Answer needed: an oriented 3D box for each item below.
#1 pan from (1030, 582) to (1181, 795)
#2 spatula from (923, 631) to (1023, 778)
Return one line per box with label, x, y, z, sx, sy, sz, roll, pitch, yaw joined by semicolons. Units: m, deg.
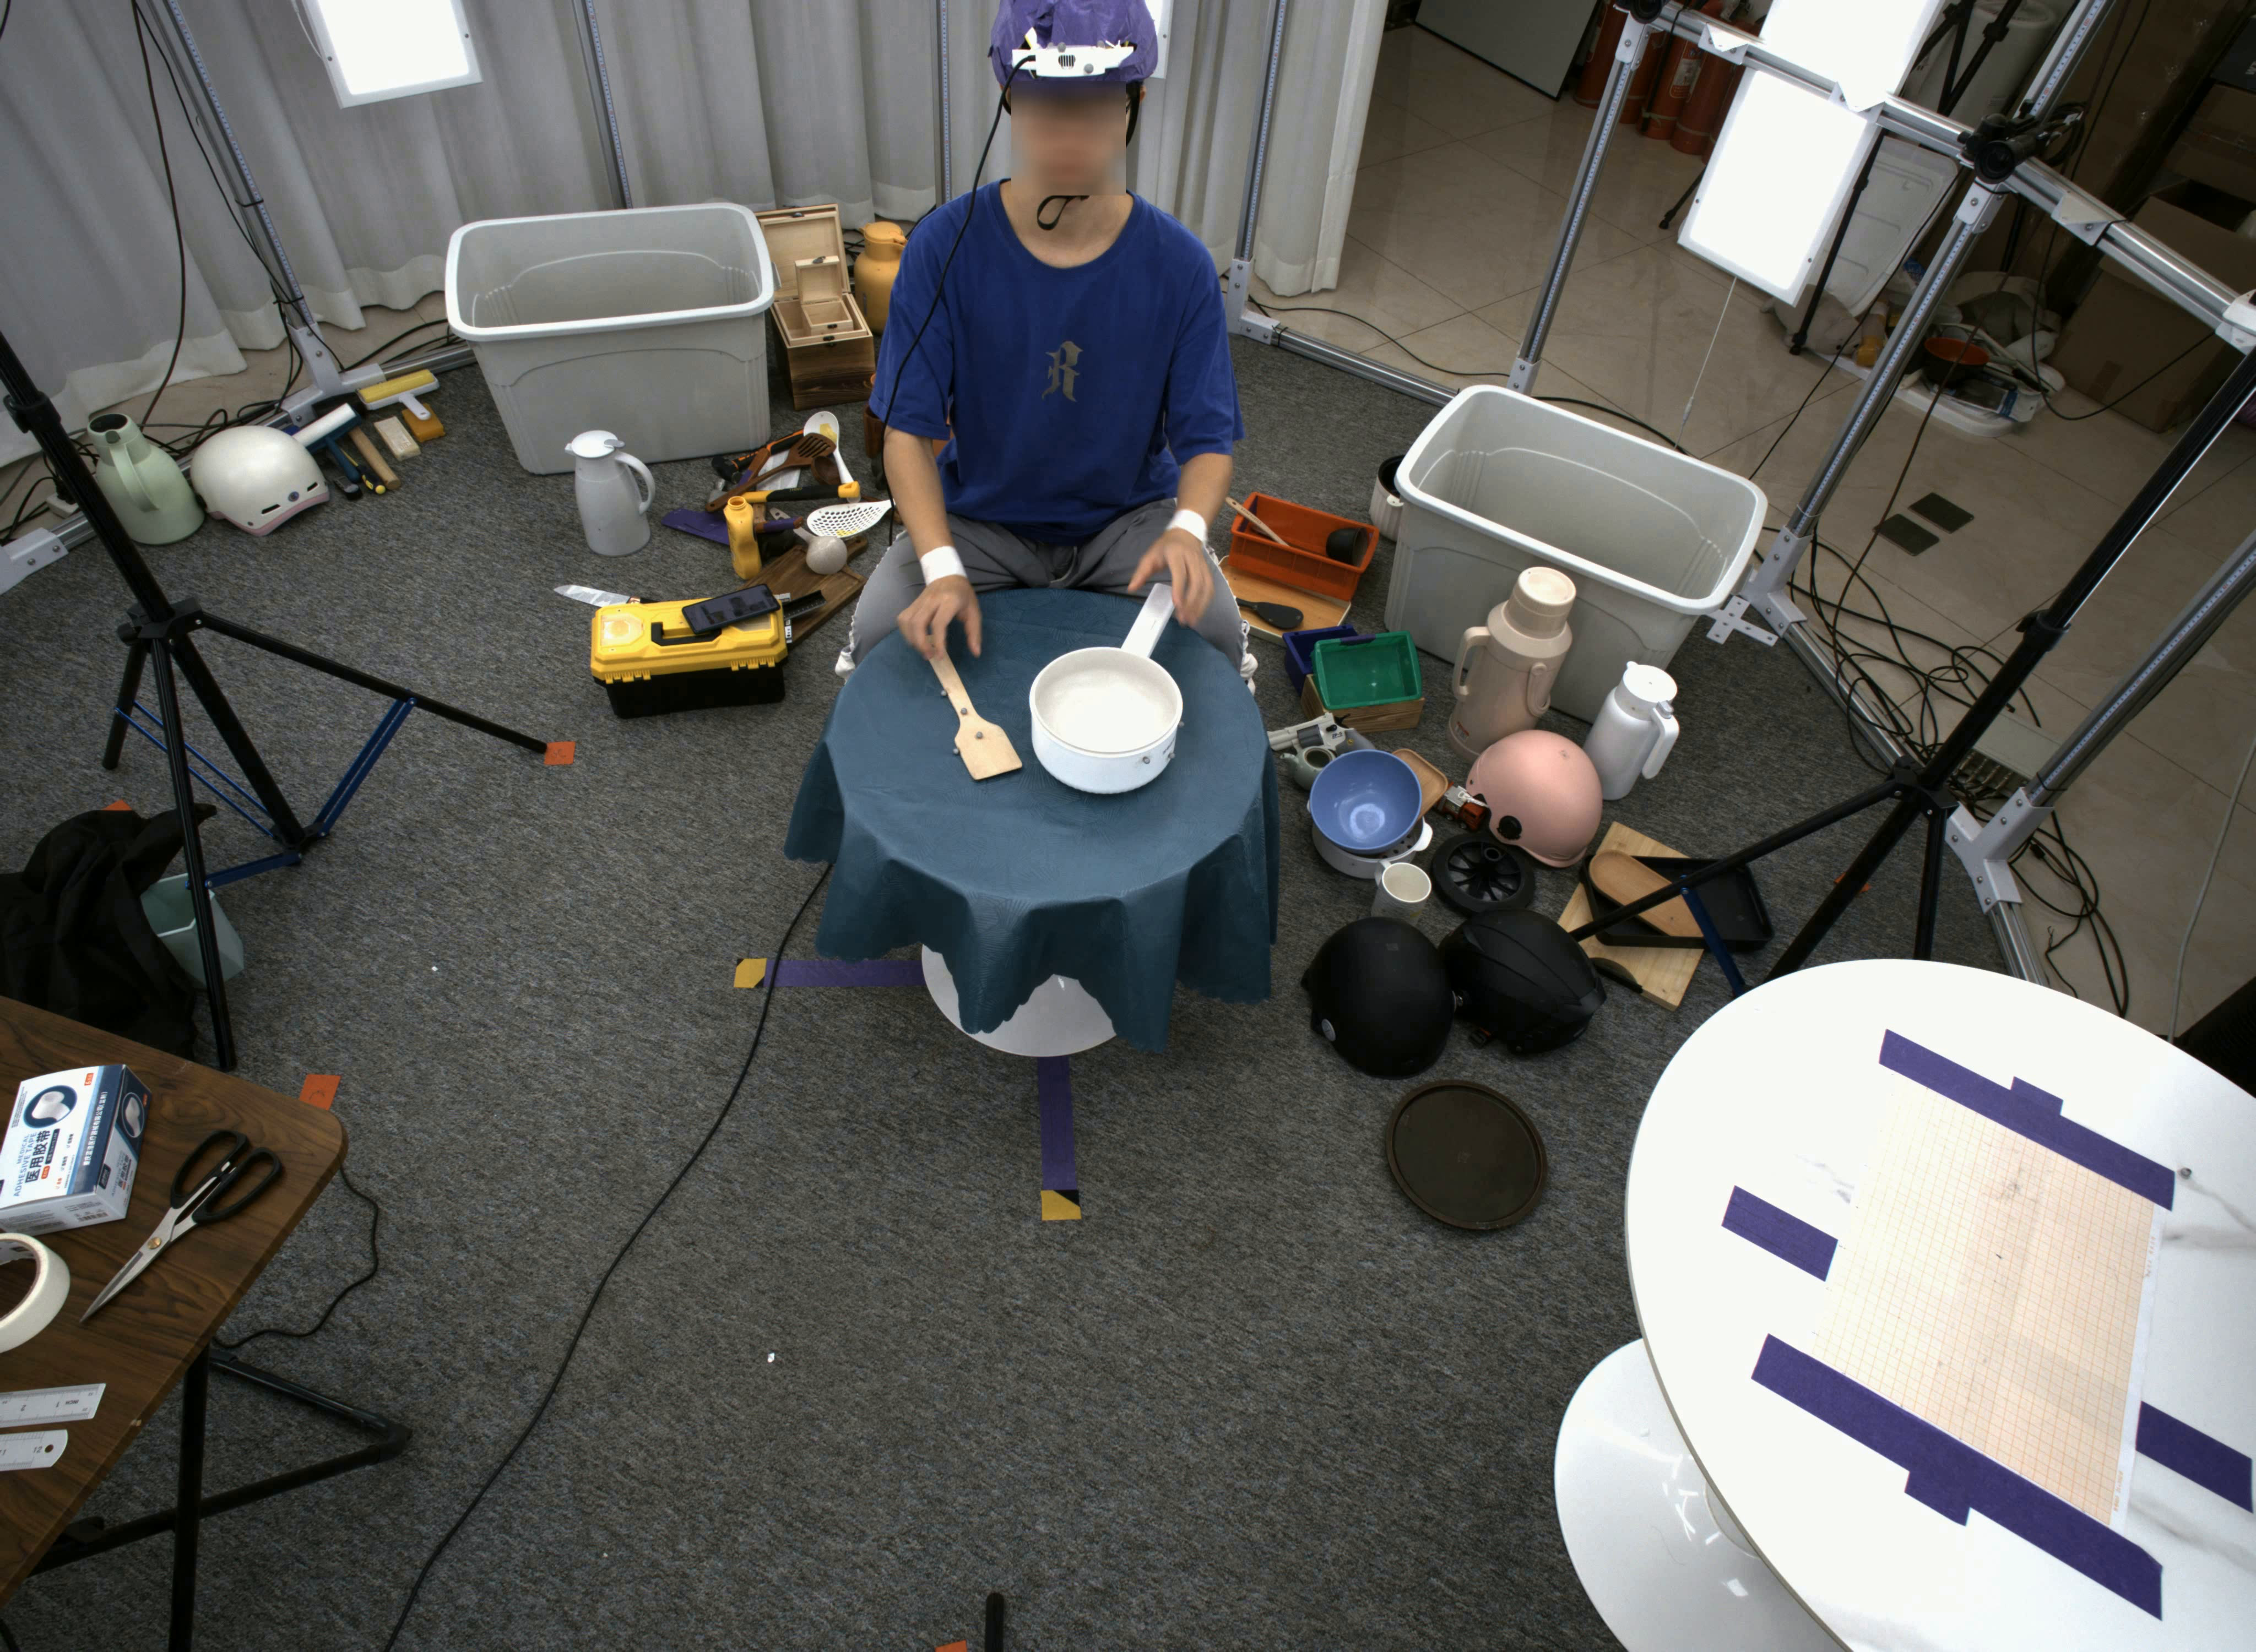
pan;-0.005;-0.192;1.776;0.202;0.099;0.362;16;51;12
spatula;-0.231;-0.177;1.804;0.072;0.010;0.300;-18;53;-16
